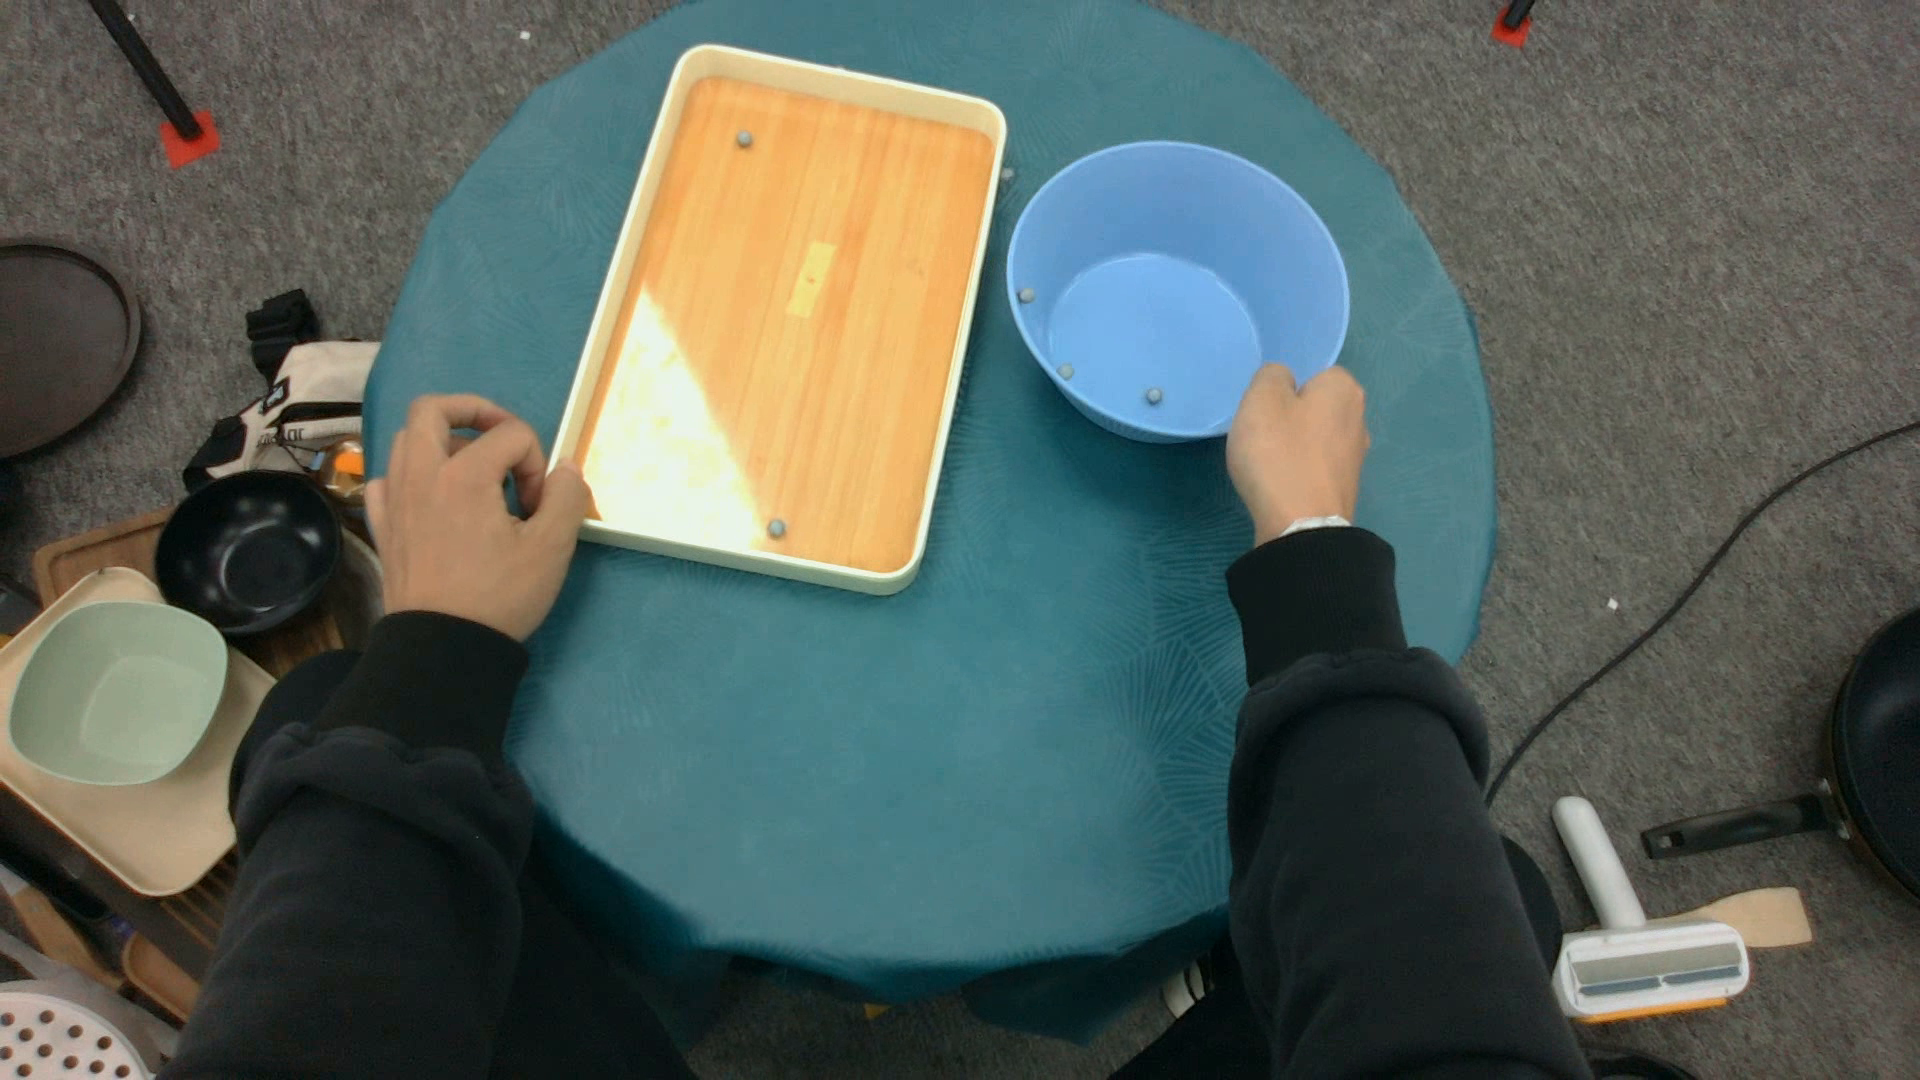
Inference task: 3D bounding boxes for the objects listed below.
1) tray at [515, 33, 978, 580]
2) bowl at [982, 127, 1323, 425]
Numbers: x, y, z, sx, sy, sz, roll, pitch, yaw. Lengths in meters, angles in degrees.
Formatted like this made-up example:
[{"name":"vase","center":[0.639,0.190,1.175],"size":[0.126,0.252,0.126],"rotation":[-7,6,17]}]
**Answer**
[{"name":"tray","center":[-0.104,-0.133,0.736],"size":[0.191,0.027,0.301],"rotation":[11,67,-2]},{"name":"bowl","center":[0.097,-0.128,0.731],"size":[0.176,0.070,0.176],"rotation":[2,67,-4]}]
